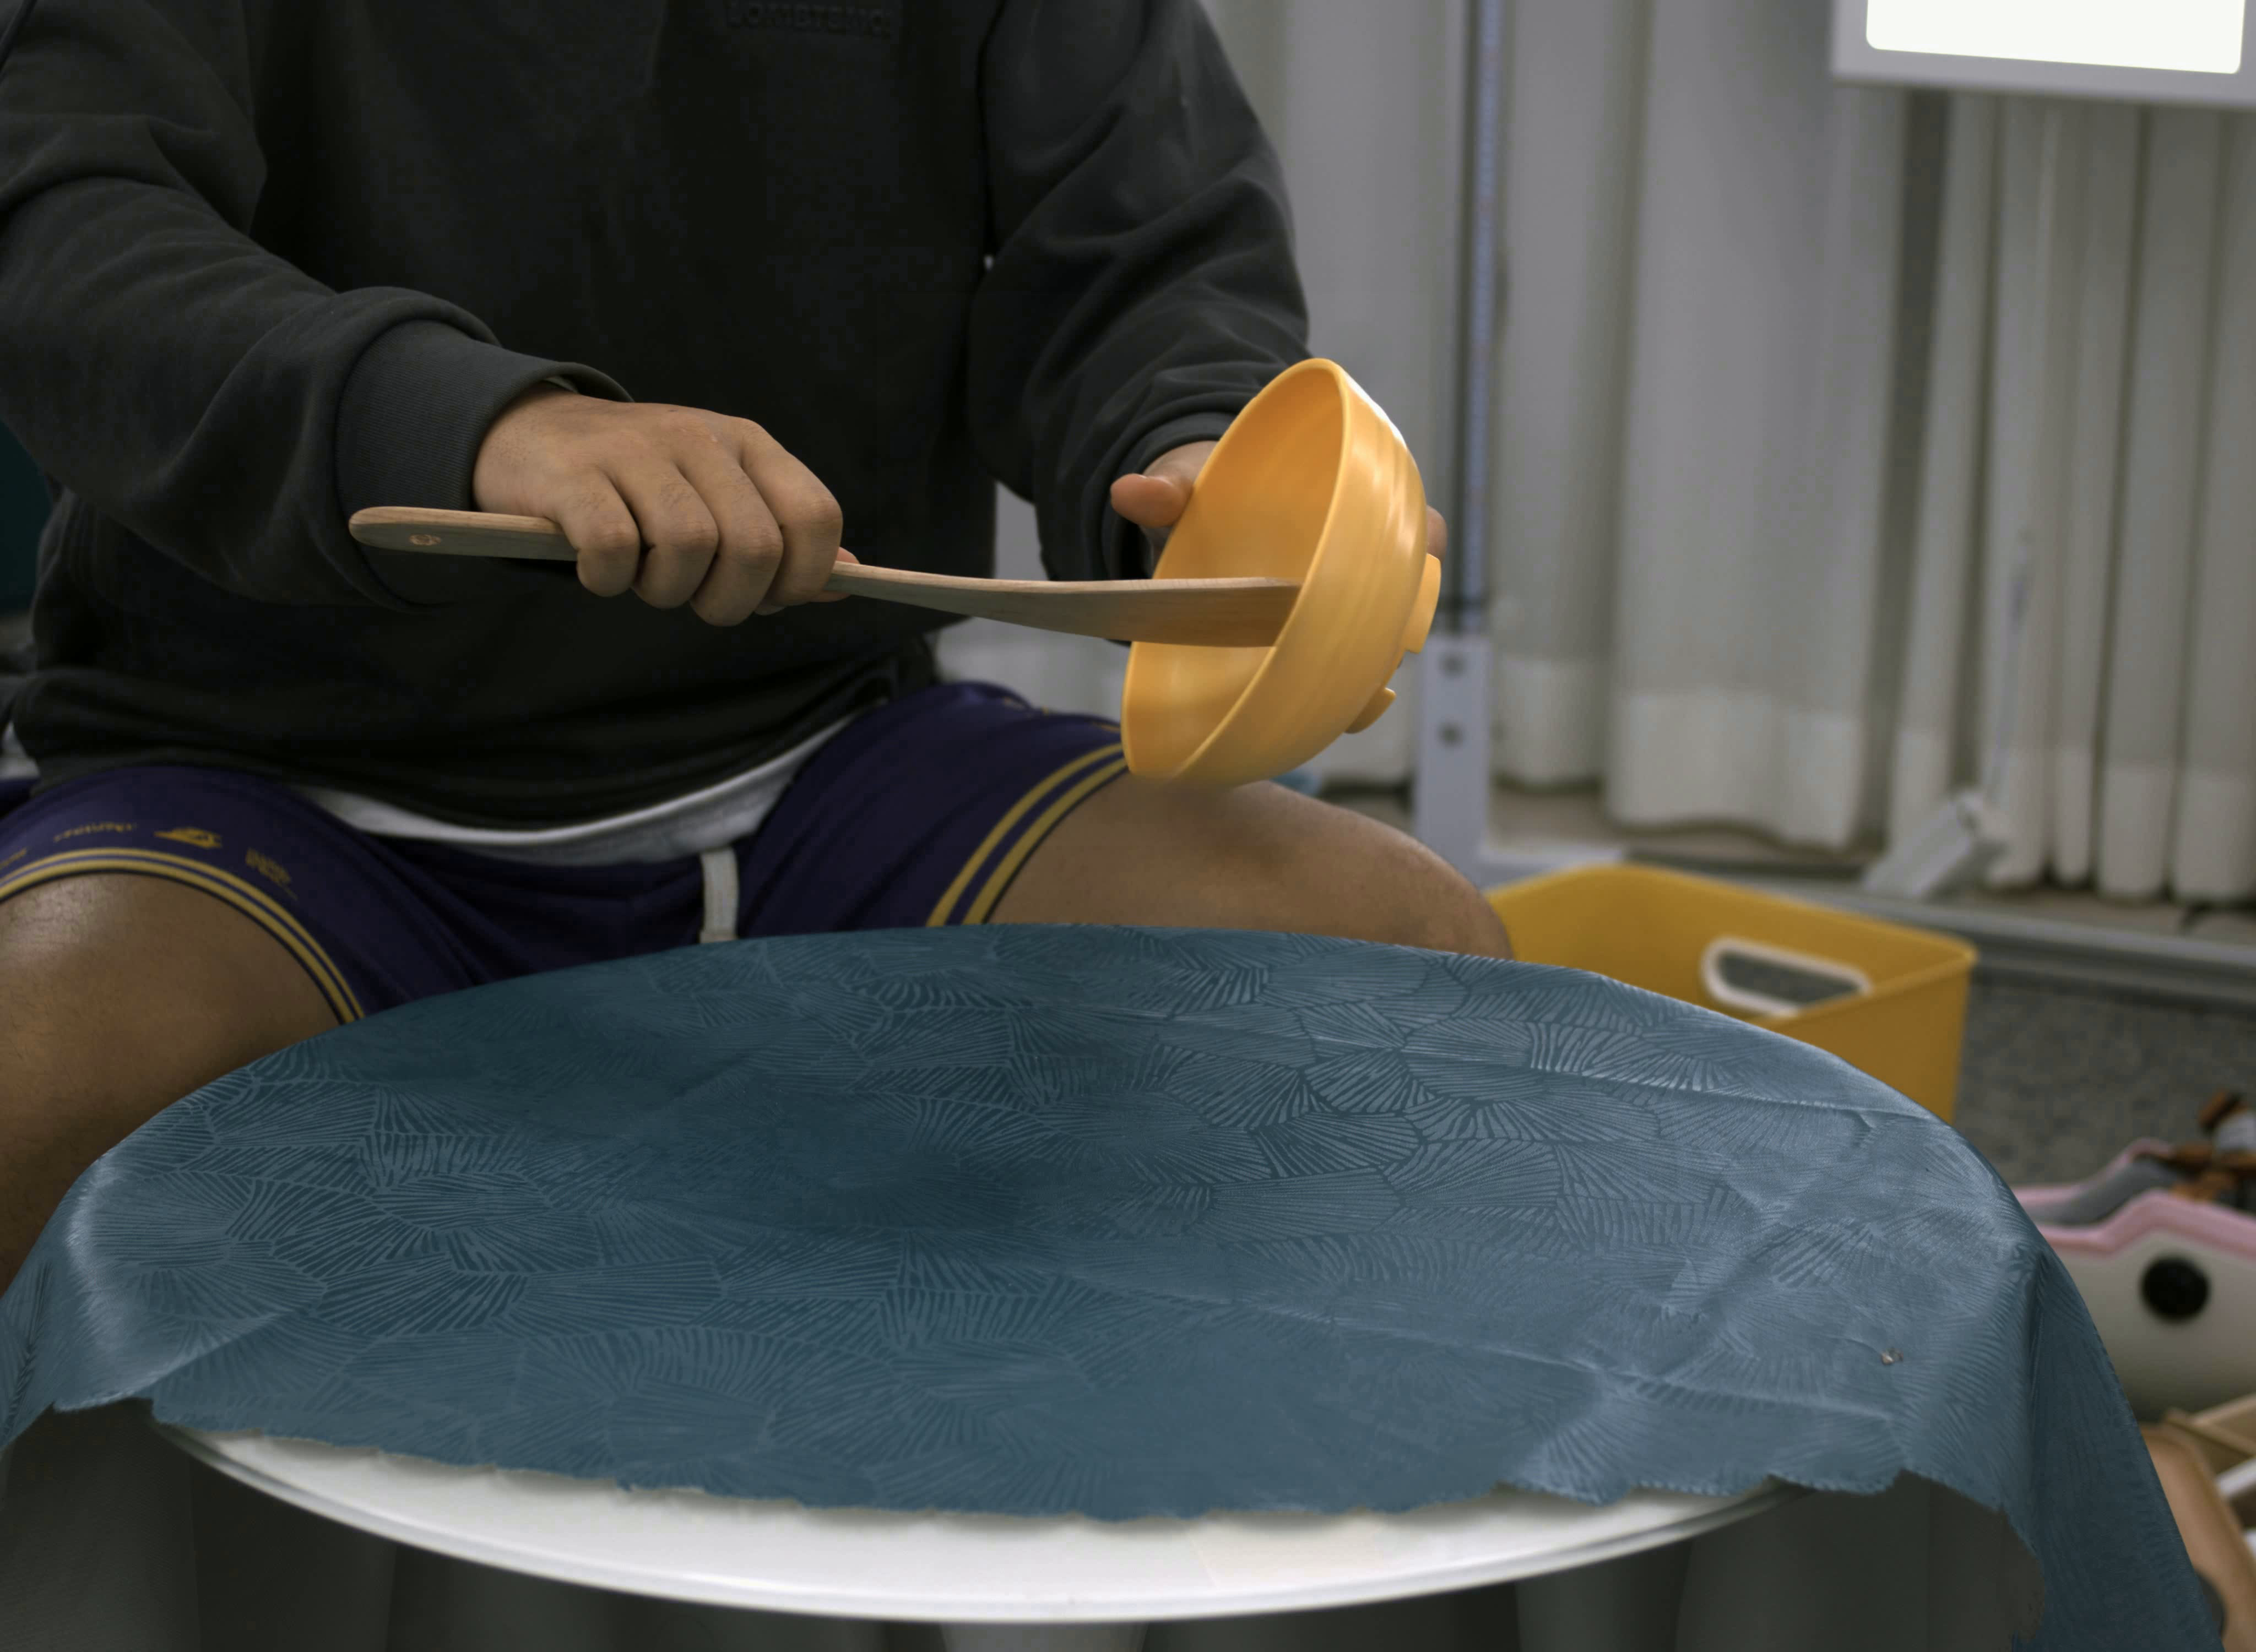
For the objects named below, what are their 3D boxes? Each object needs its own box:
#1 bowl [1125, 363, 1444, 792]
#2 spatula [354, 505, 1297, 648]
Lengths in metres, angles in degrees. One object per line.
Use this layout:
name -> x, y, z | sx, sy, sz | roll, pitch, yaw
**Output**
bowl -> 0.059, -0.069, 1.668 | 0.060, 0.146, 0.144 | 24, 10, -16
spatula -> -0.076, -0.080, 1.631 | 0.328, 0.016, 0.080 | 6, -15, -16
